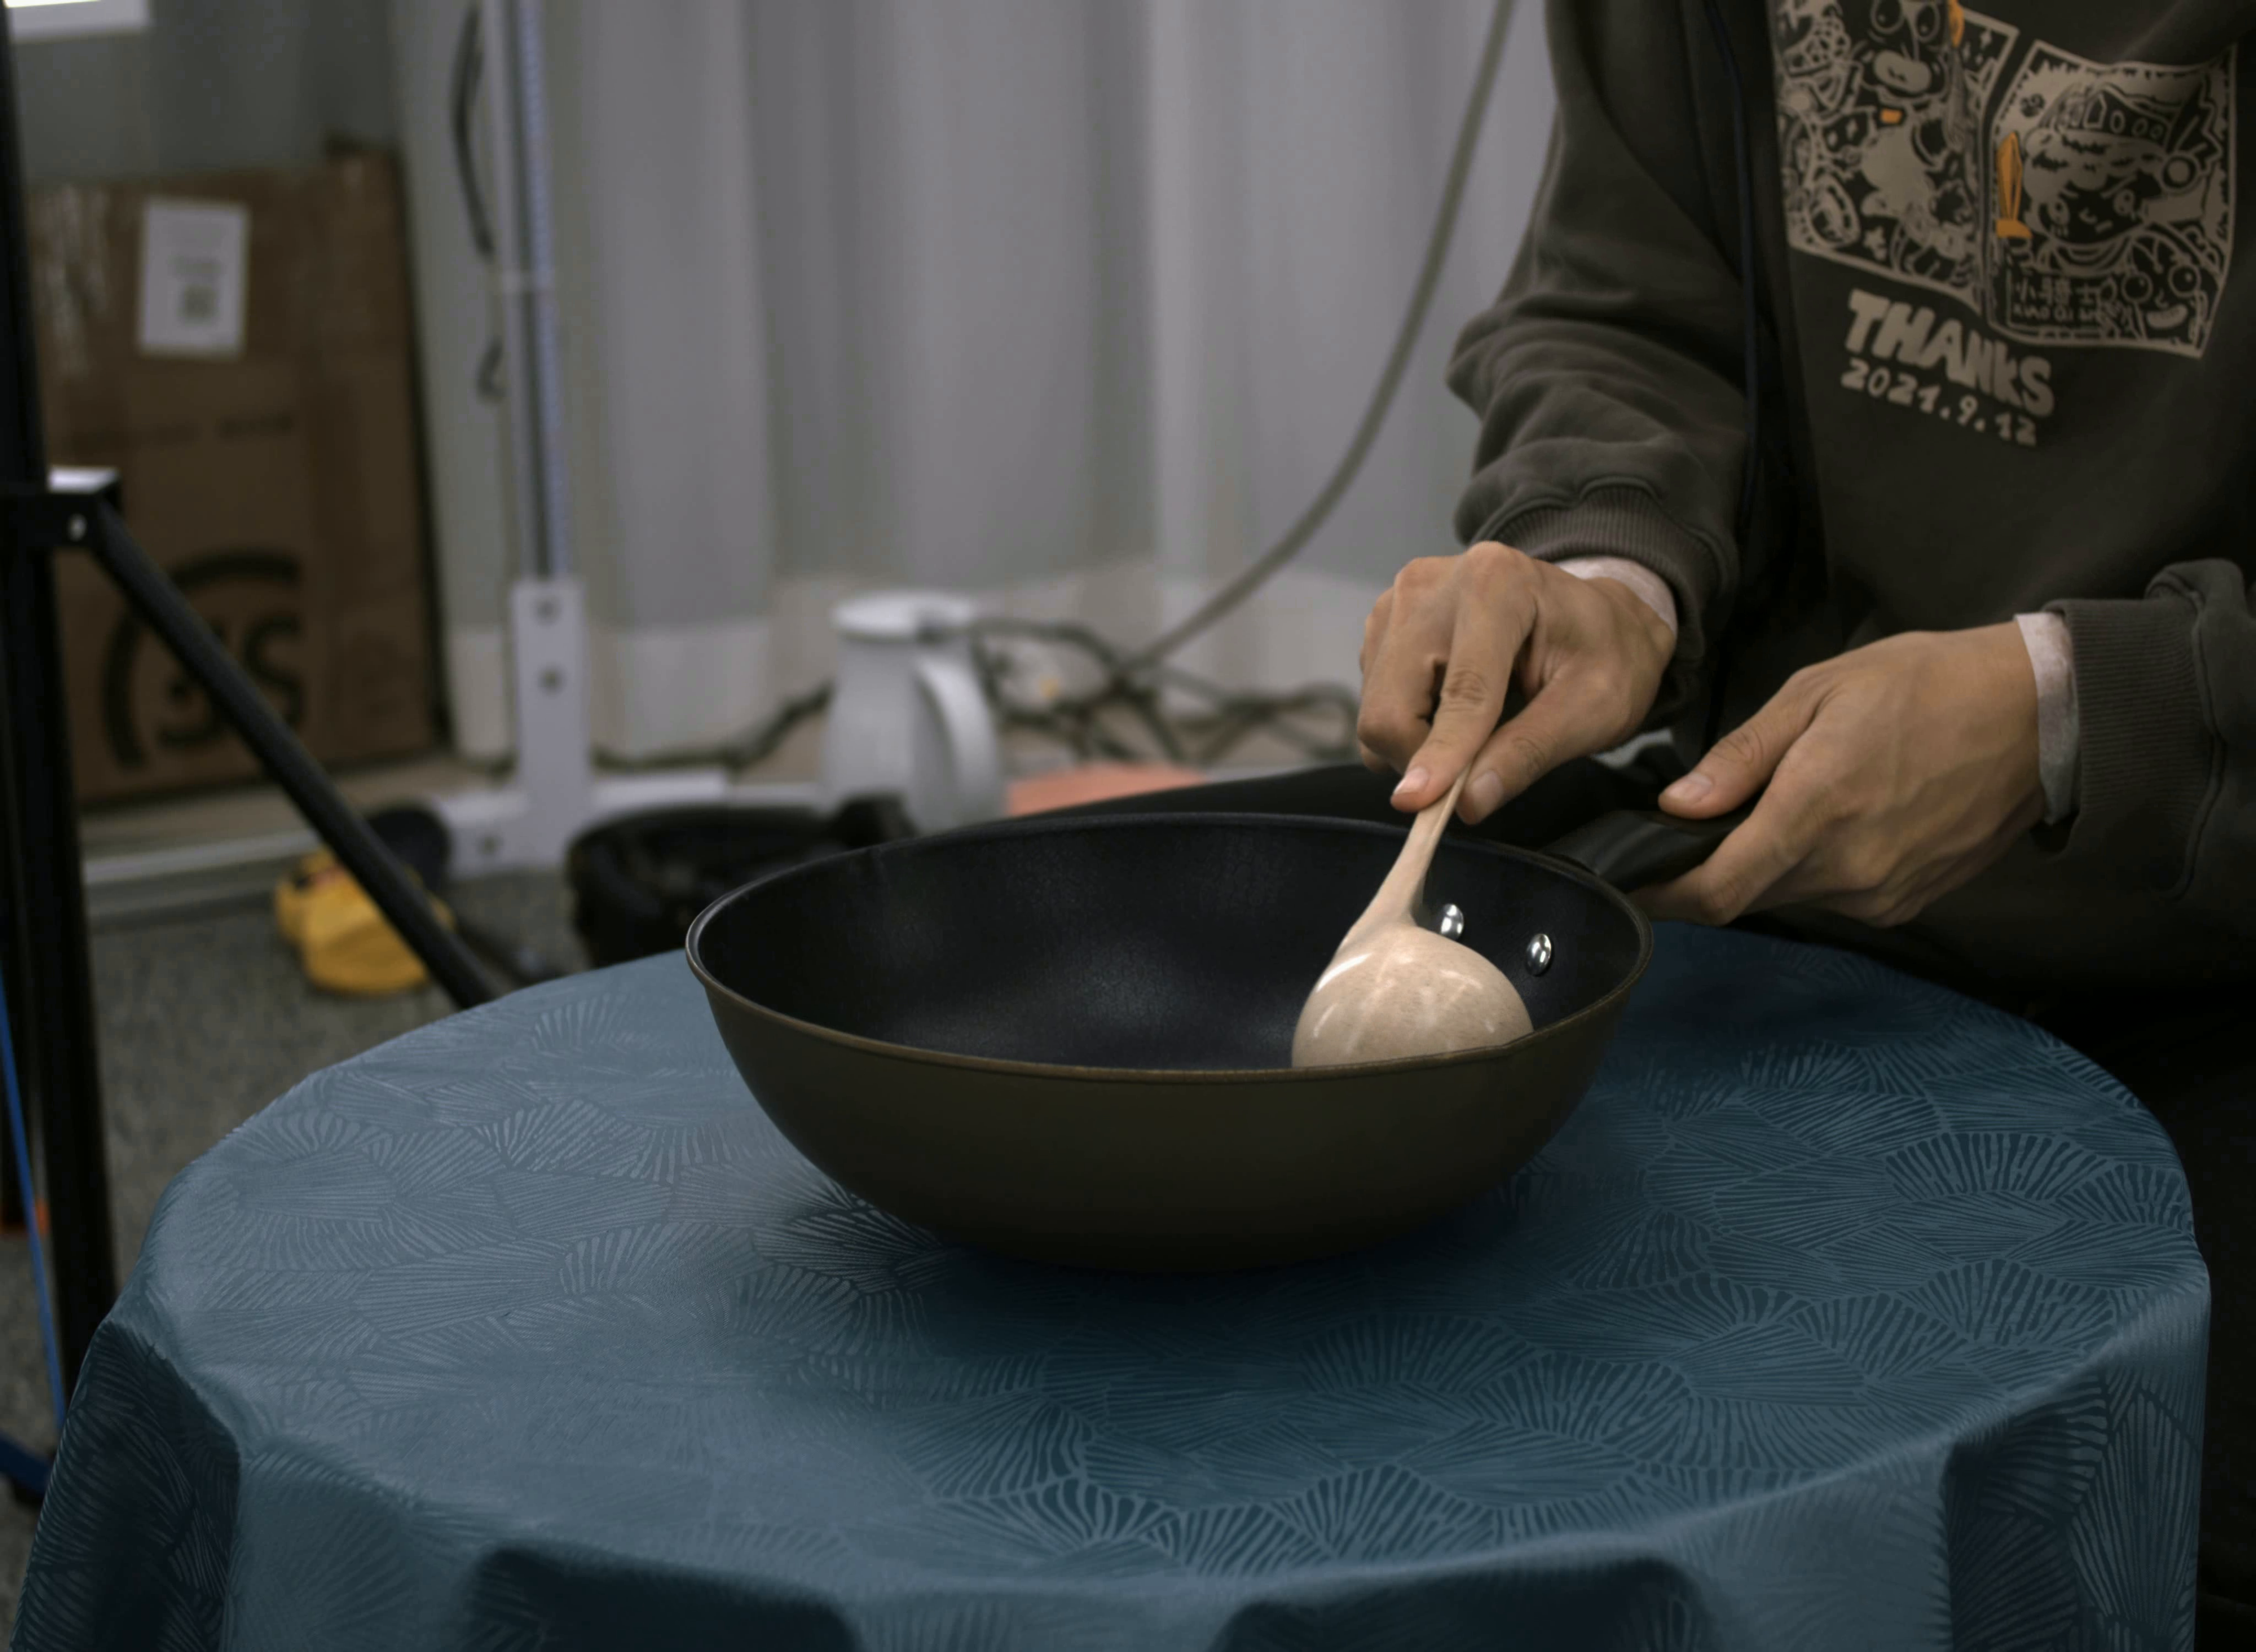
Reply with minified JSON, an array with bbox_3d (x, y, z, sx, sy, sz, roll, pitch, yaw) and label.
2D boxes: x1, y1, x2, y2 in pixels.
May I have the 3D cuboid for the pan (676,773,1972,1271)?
[{"bbox_3d":[0.080,0.053,1.597,0.452,0.087,0.295,-11,17,-36],"label":"pan"}]

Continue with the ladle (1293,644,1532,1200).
[{"bbox_3d":[0.104,0.027,1.593,0.073,0.072,0.253,-28,15,25],"label":"ladle"}]
